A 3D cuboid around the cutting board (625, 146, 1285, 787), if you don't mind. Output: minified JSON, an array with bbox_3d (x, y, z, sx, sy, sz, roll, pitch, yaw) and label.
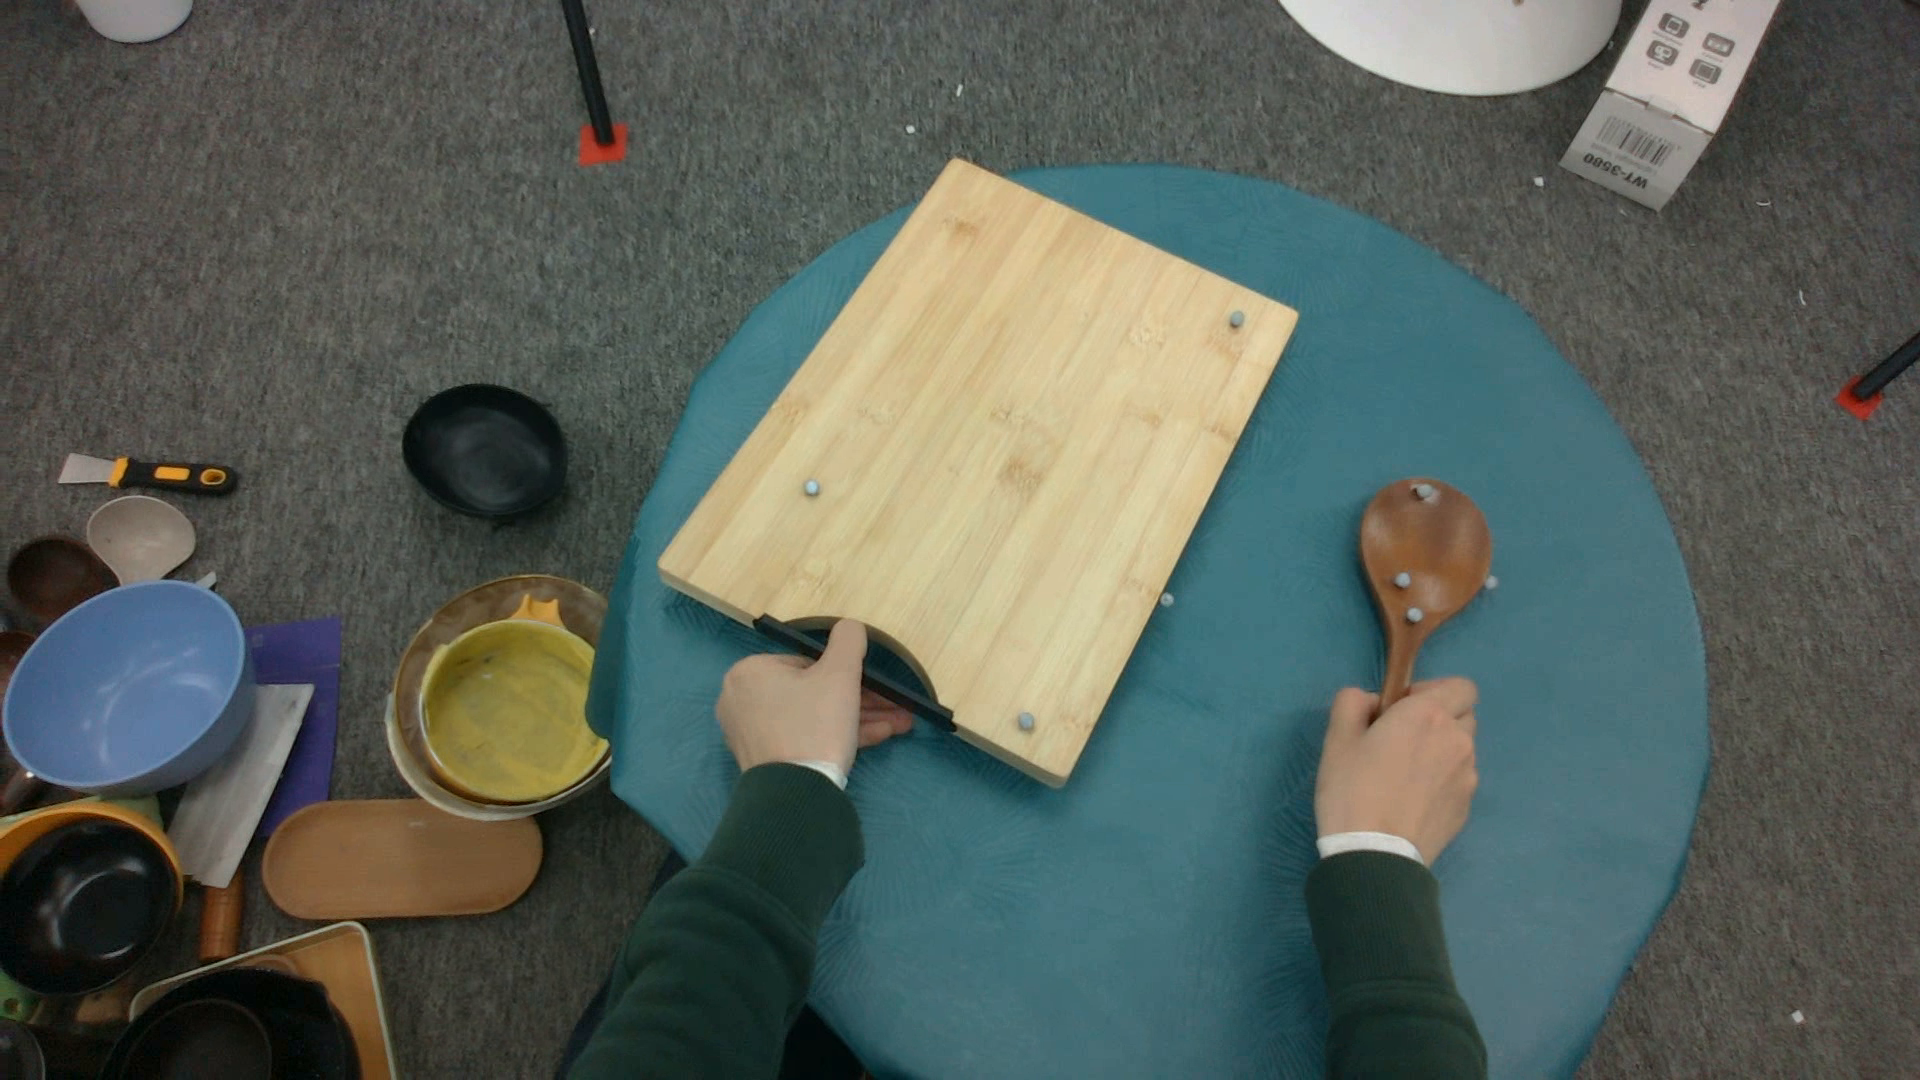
[{"bbox_3d":[0.013,-0.062,0.779,0.250,0.023,0.350,25,61,8],"label":"cutting board"}]

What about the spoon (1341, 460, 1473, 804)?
[{"bbox_3d":[0.235,0.045,0.748,0.075,0.017,0.217,19,58,2],"label":"spoon"}]
